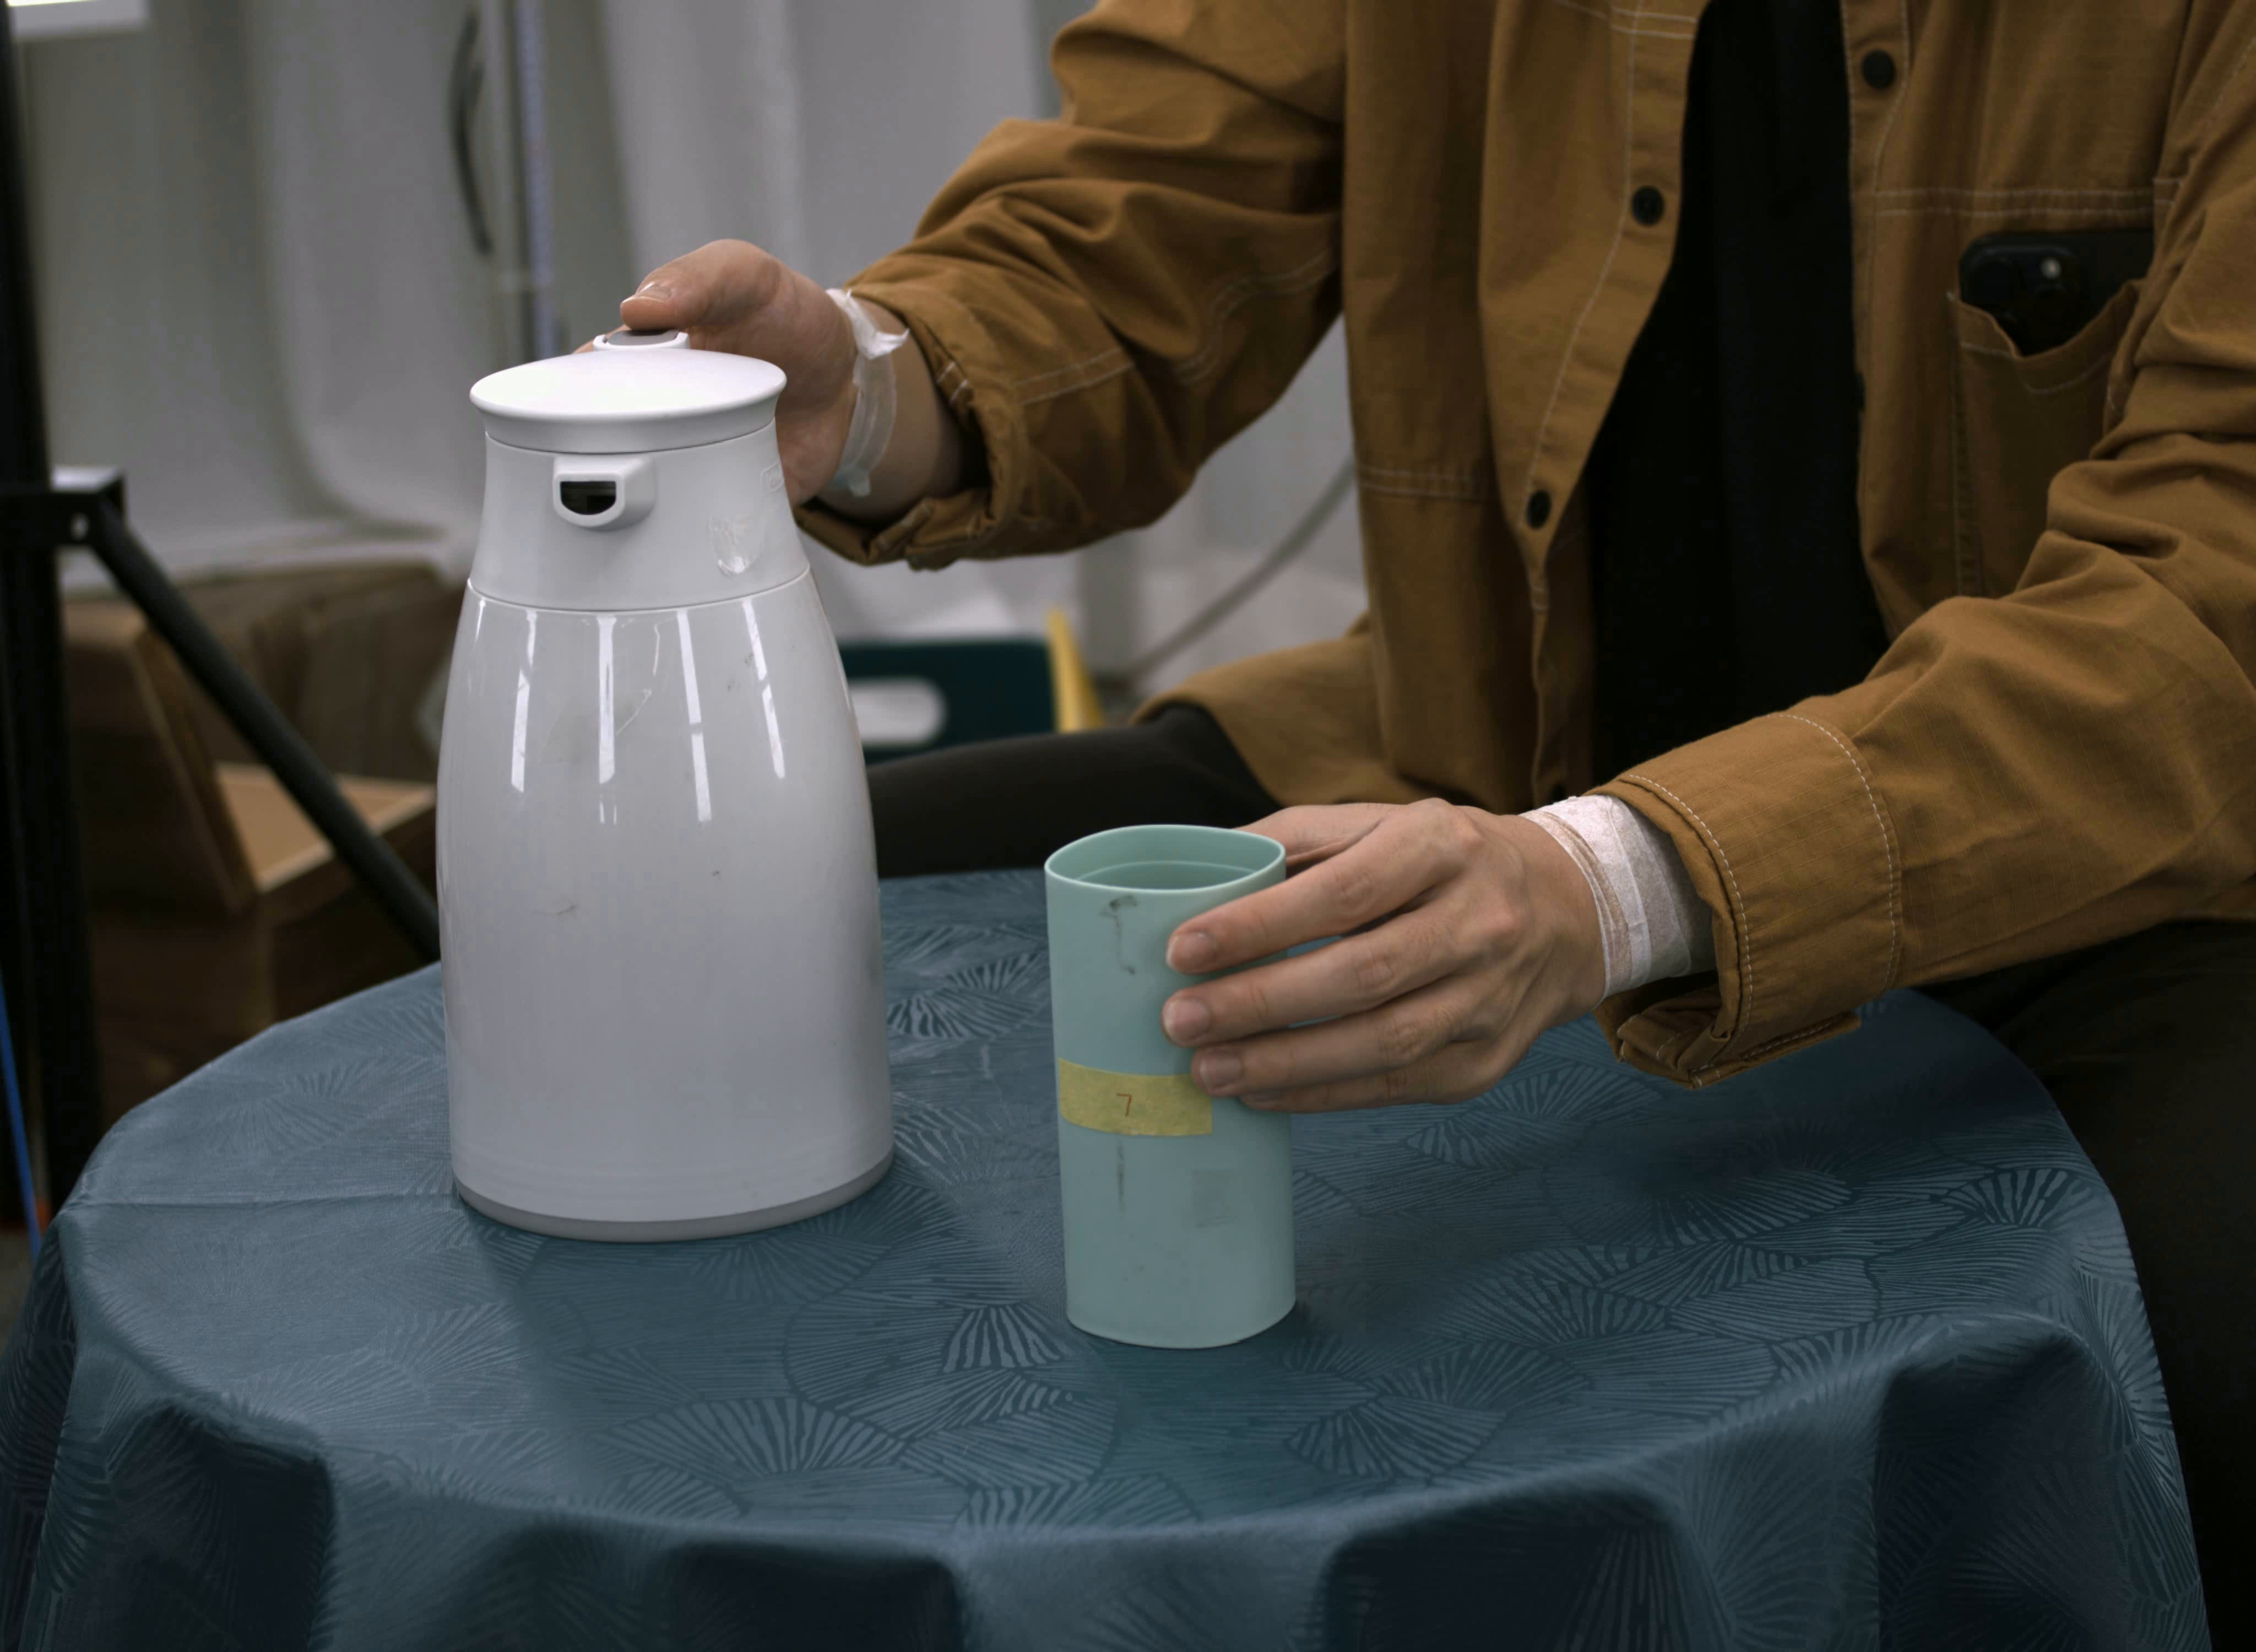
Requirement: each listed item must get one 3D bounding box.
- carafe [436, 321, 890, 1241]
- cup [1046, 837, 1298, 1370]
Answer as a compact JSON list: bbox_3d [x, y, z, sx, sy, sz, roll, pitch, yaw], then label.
[{"bbox_3d":[-0.139,-0.022,1.583,0.132,0.248,0.167,-1,15,6],"label":"carafe"},{"bbox_3d":[0.014,0.074,1.445,0.066,0.132,0.067,-3,16,-1],"label":"cup"}]
